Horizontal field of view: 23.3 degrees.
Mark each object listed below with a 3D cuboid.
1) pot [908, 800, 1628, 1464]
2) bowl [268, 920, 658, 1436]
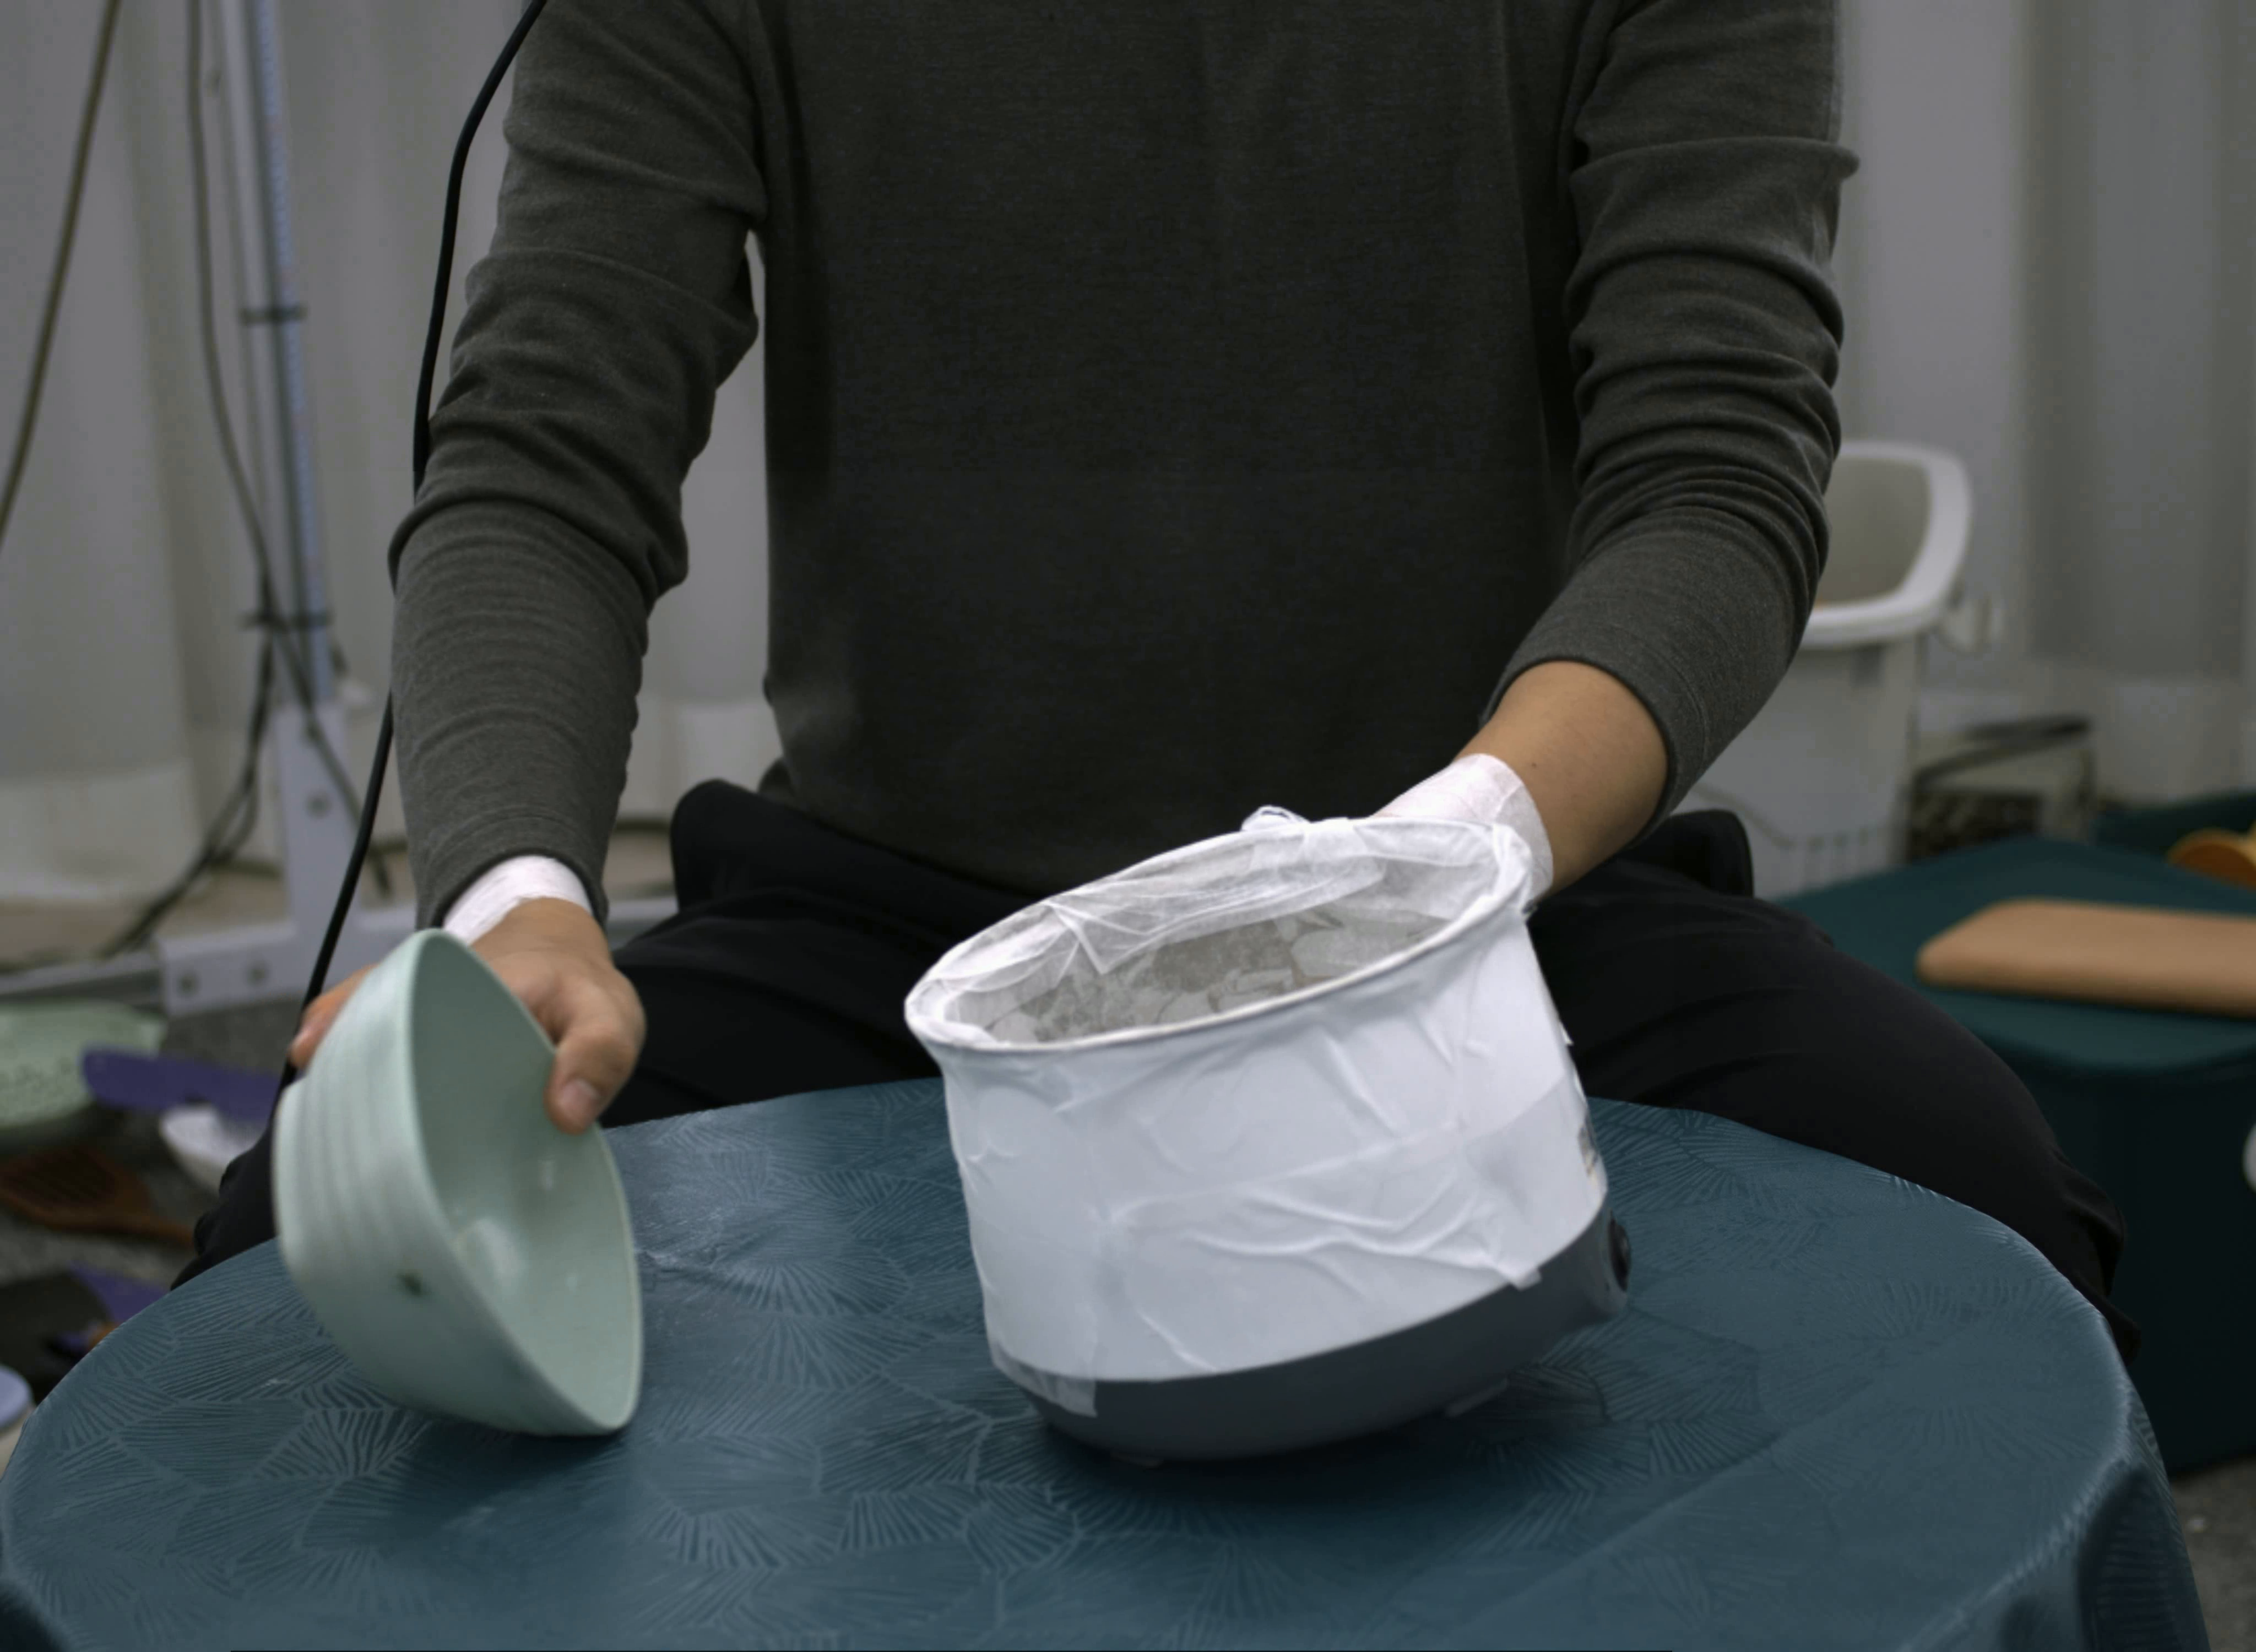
[{"bbox_3d":[0.044,0.078,1.535,0.178,0.136,0.235,-11,14,12],"label":"pot"},{"bbox_3d":[-0.193,0.107,1.540,0.058,0.151,0.152,-22,8,20],"label":"bowl"}]
